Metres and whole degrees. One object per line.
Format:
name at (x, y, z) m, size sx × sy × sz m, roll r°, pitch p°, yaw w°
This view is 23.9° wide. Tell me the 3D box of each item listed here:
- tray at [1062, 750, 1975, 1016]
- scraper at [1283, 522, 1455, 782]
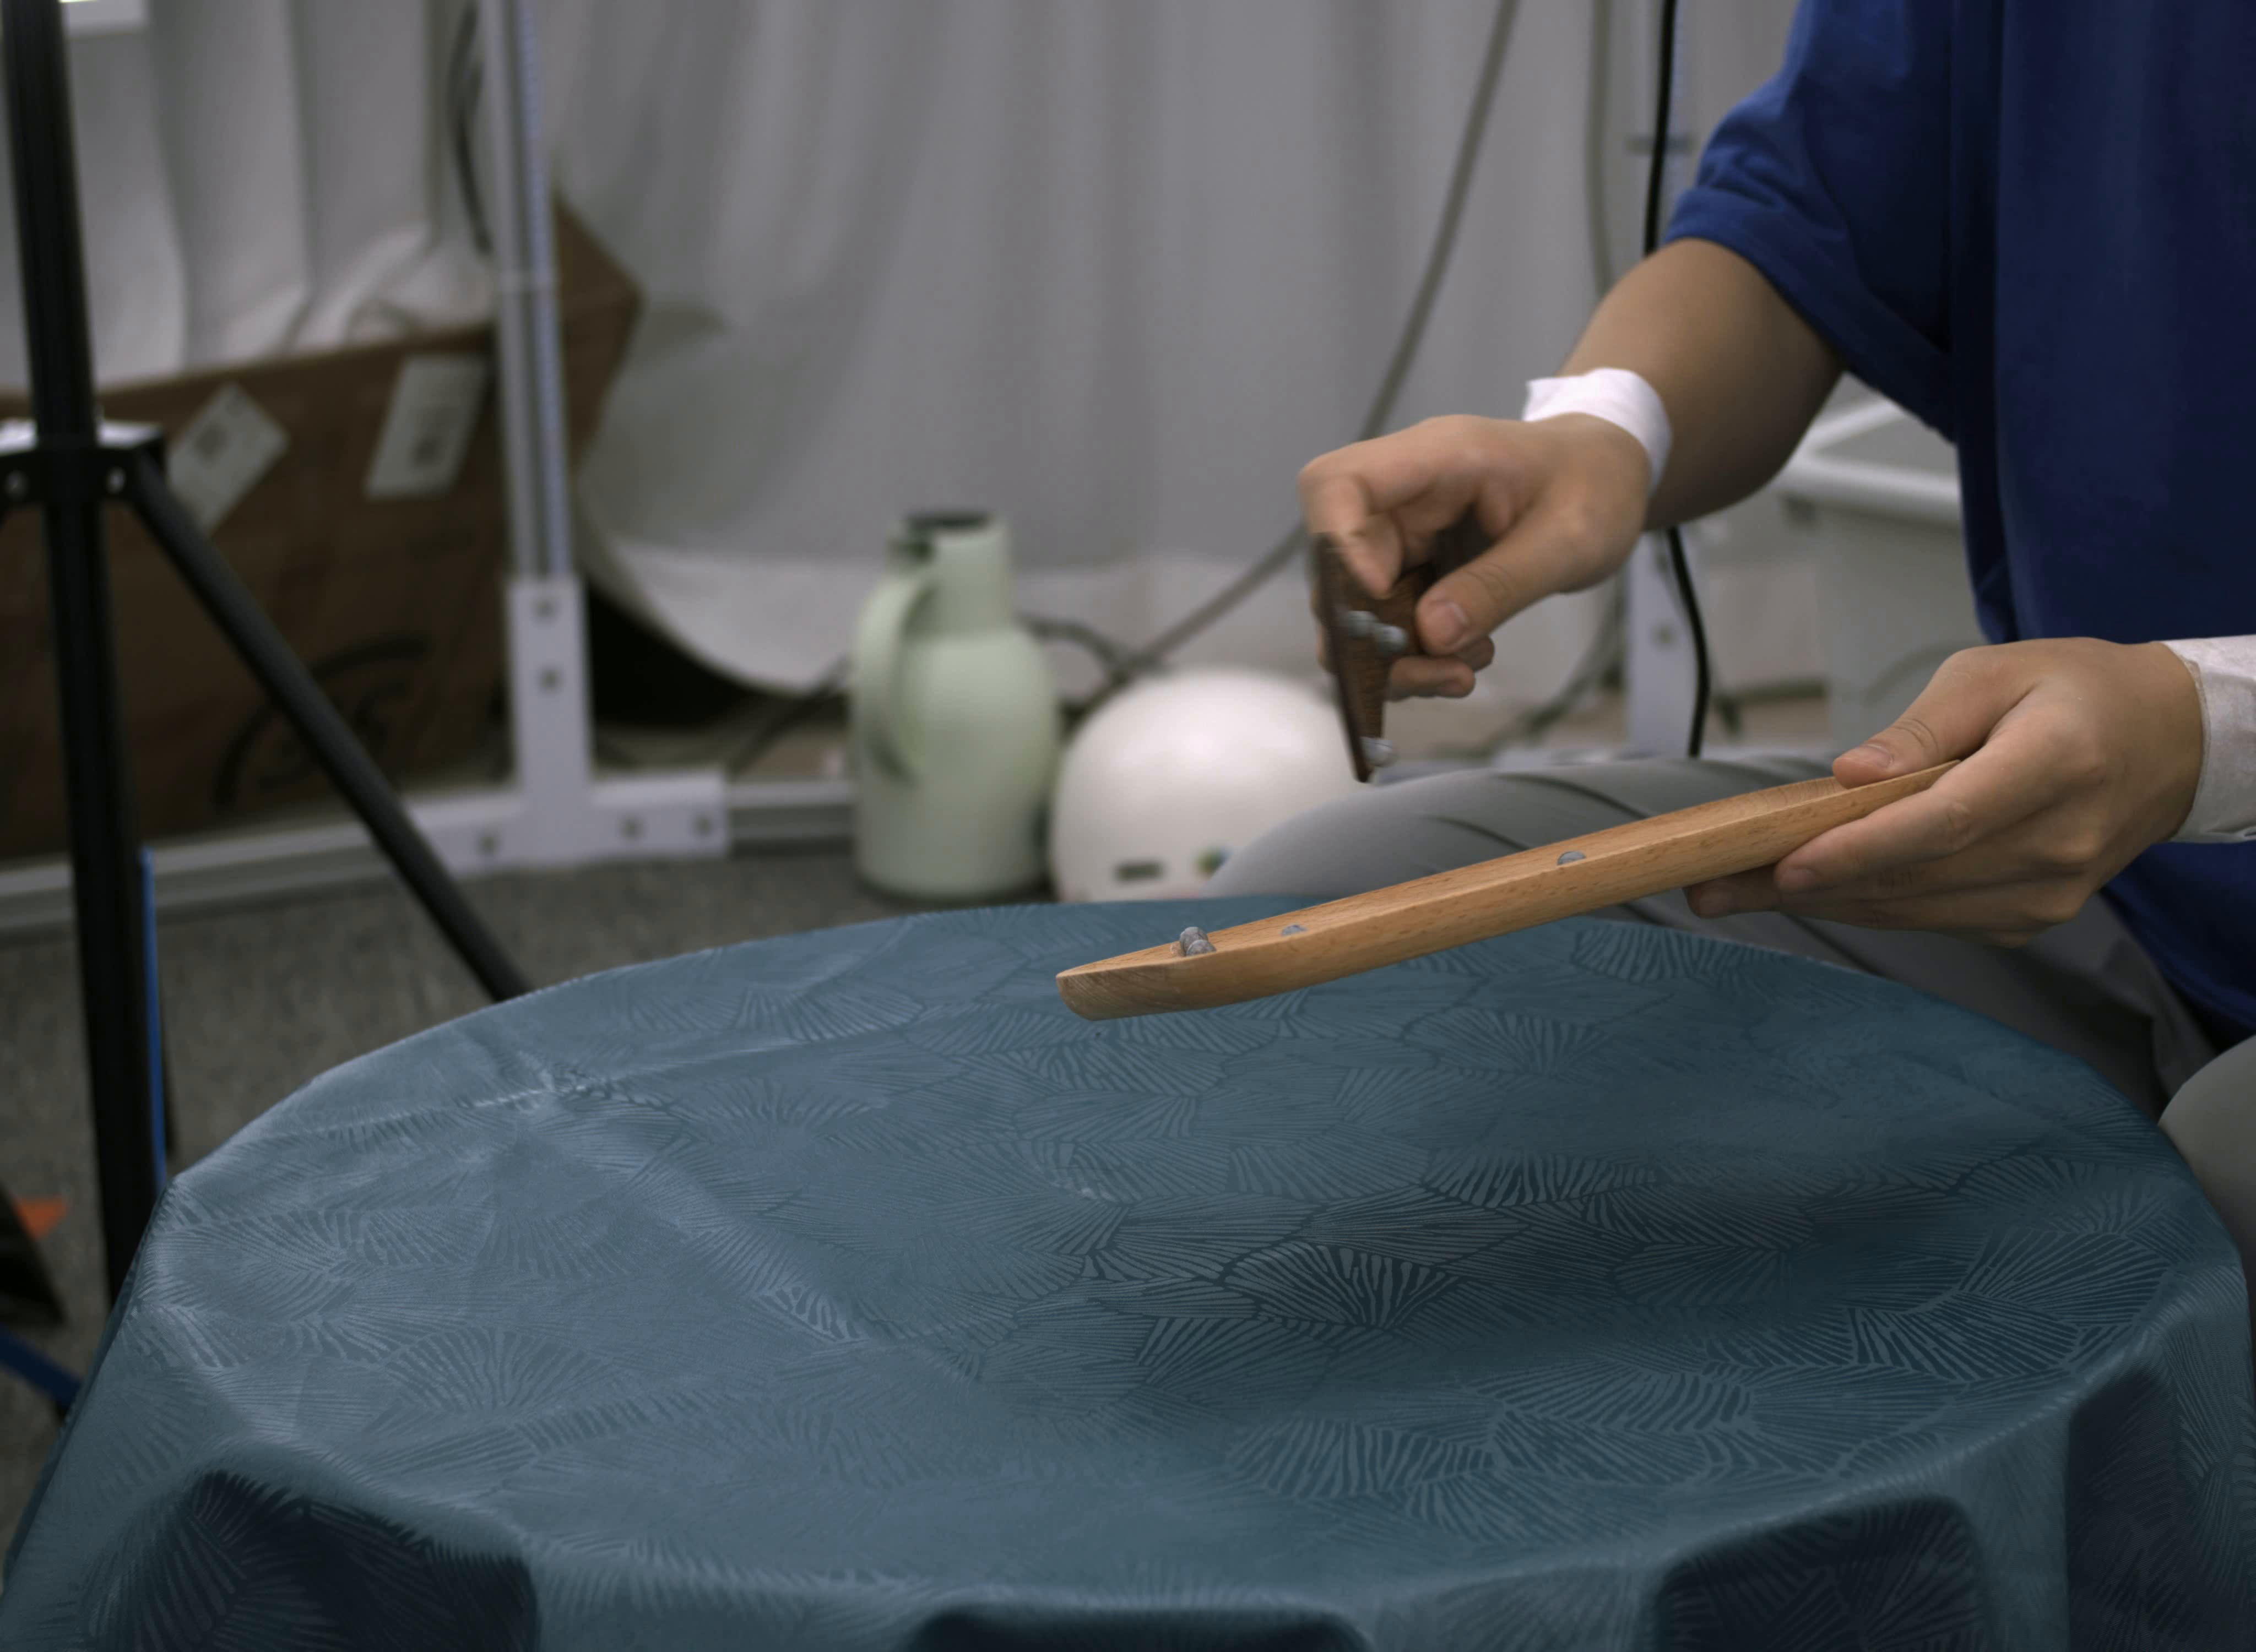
tray at (0.110, 0.017, 1.475) m, size 0.246 × 0.023 × 0.132 m, roll -13°, pitch 3°, yaw -22°
scraper at (0.076, -0.059, 1.602) m, size 0.011 × 0.076 × 0.209 m, roll -15°, pitch 3°, yaw 15°
